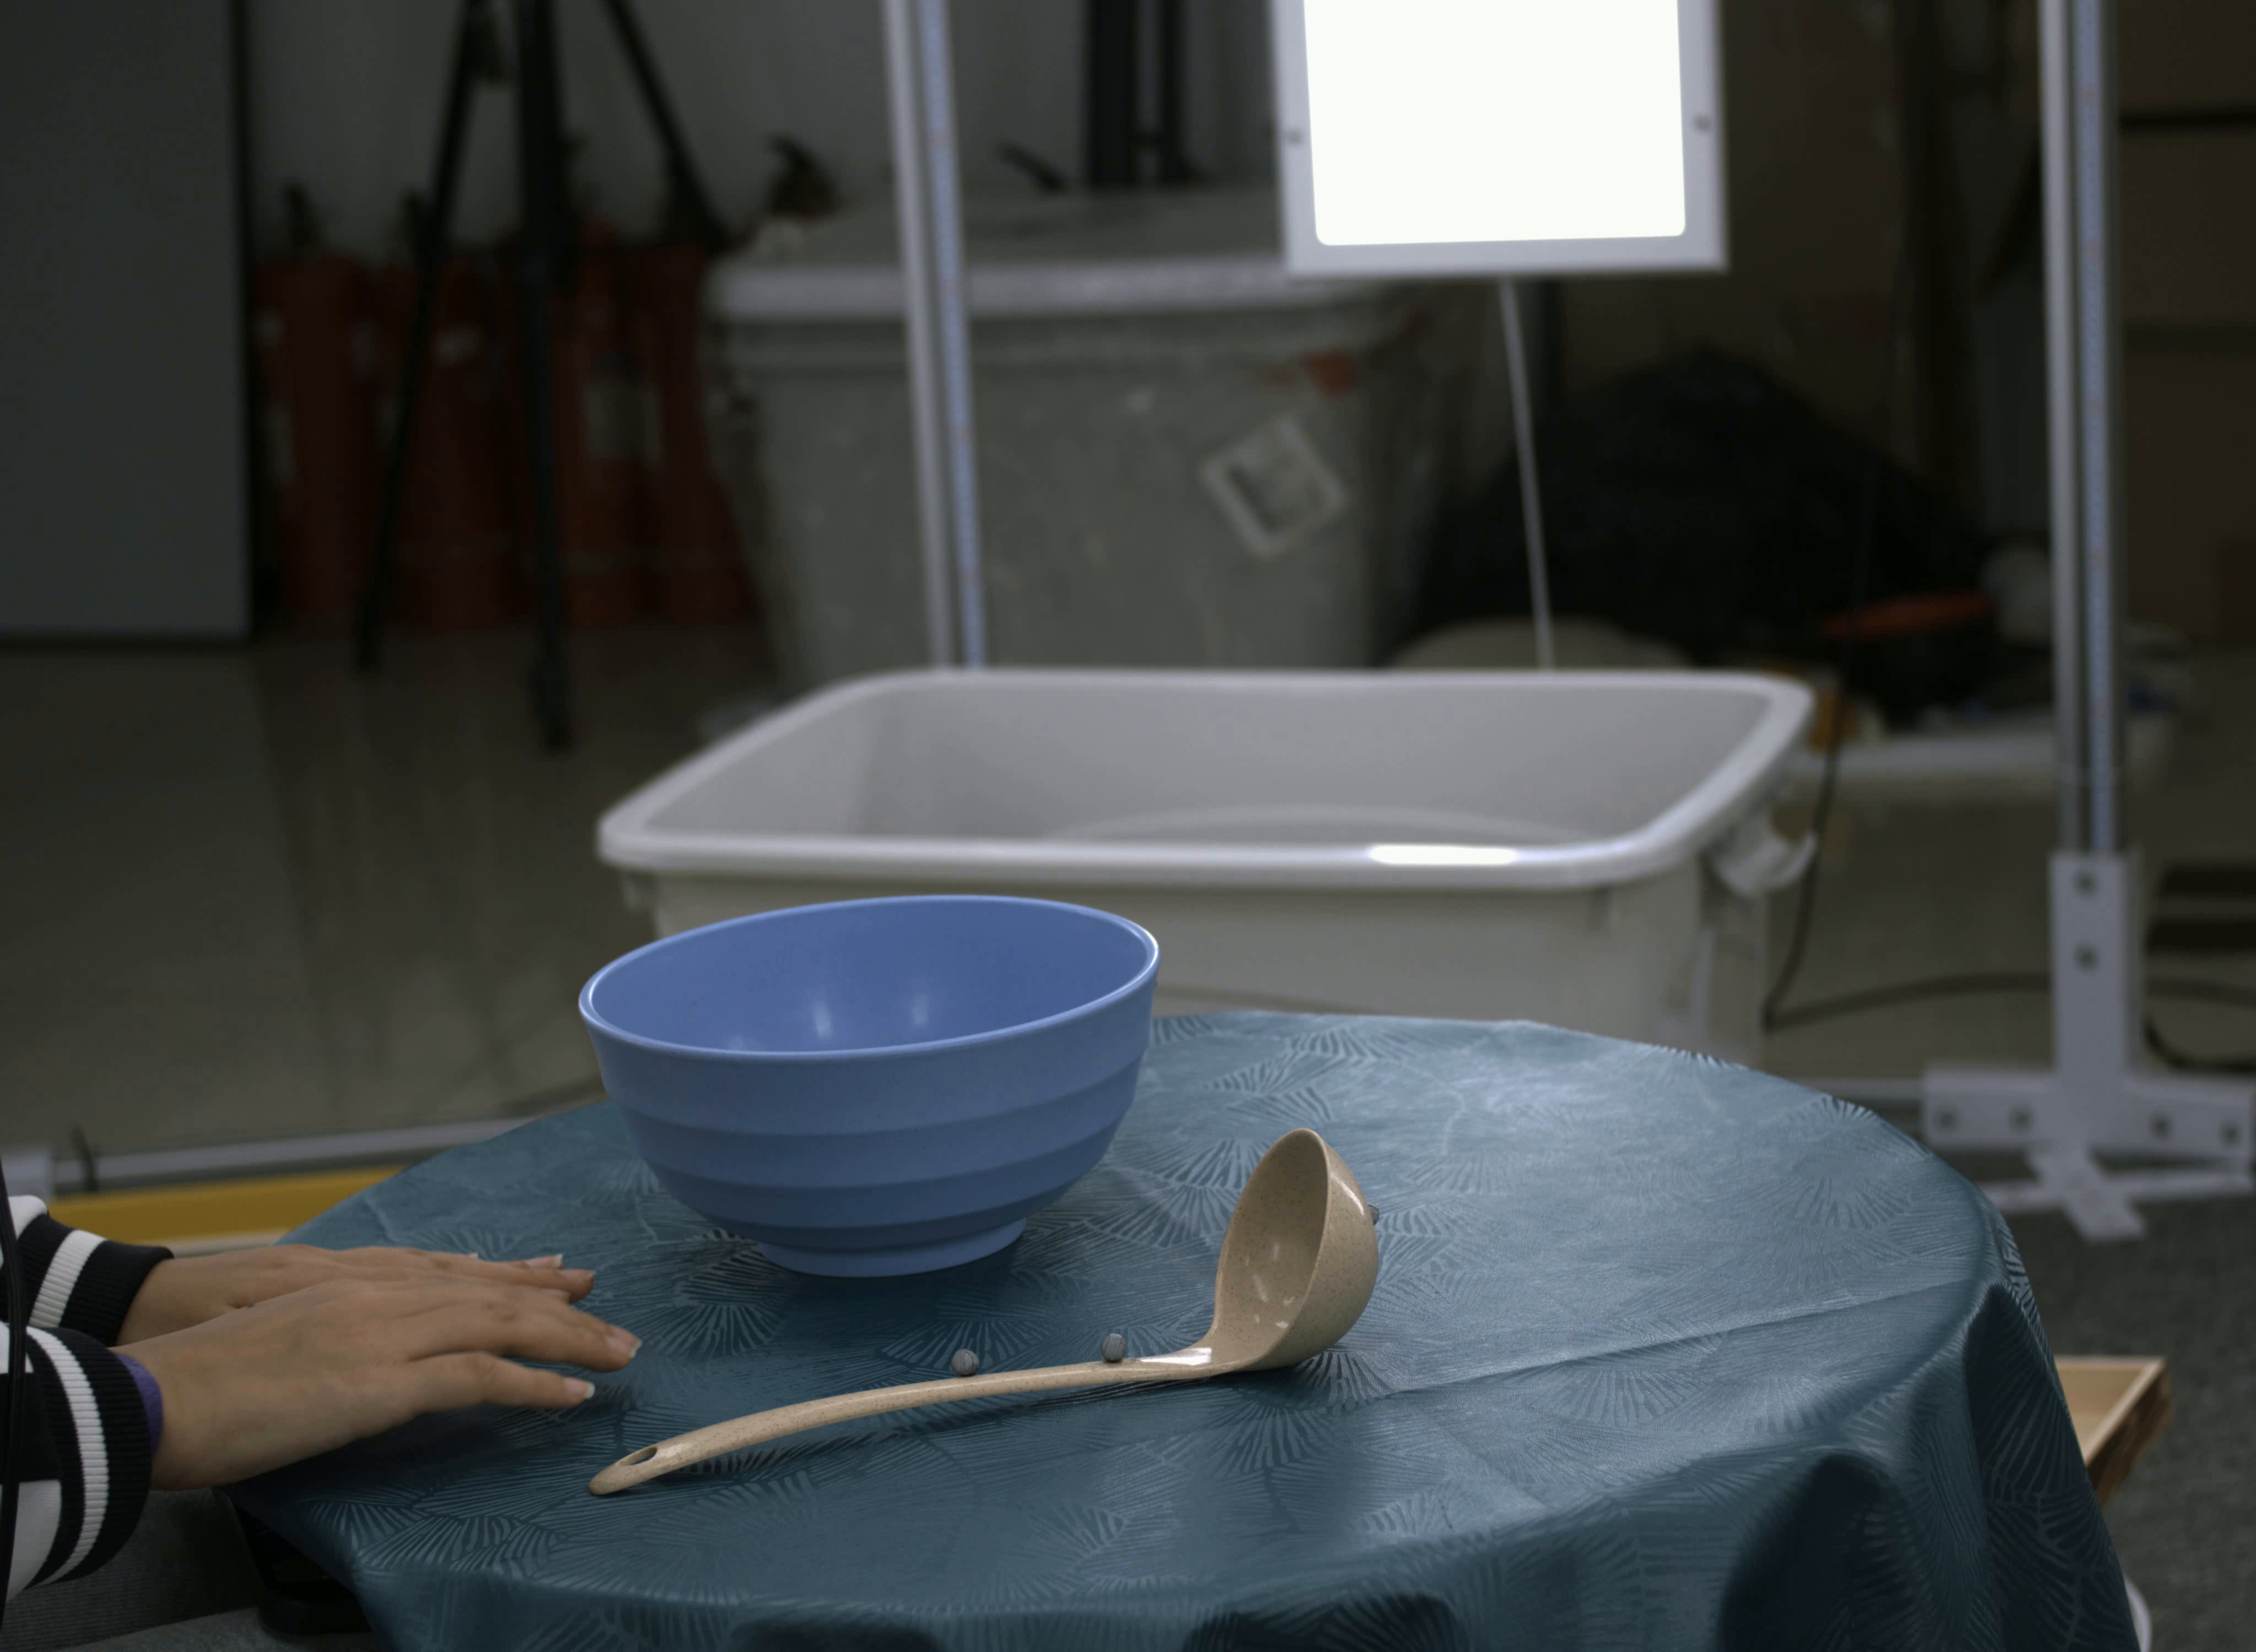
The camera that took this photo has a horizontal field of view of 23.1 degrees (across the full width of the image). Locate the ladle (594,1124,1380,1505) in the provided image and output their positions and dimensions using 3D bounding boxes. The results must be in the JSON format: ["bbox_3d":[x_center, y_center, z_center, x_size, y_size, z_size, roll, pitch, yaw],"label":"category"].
[{"bbox_3d":[-0.045,0.146,1.680,0.250,0.073,0.073,-10,13,-18],"label":"ladle"}]

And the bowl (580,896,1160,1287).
[{"bbox_3d":[-0.084,0.096,1.865,0.196,0.096,0.196,-4,15,0],"label":"bowl"}]
